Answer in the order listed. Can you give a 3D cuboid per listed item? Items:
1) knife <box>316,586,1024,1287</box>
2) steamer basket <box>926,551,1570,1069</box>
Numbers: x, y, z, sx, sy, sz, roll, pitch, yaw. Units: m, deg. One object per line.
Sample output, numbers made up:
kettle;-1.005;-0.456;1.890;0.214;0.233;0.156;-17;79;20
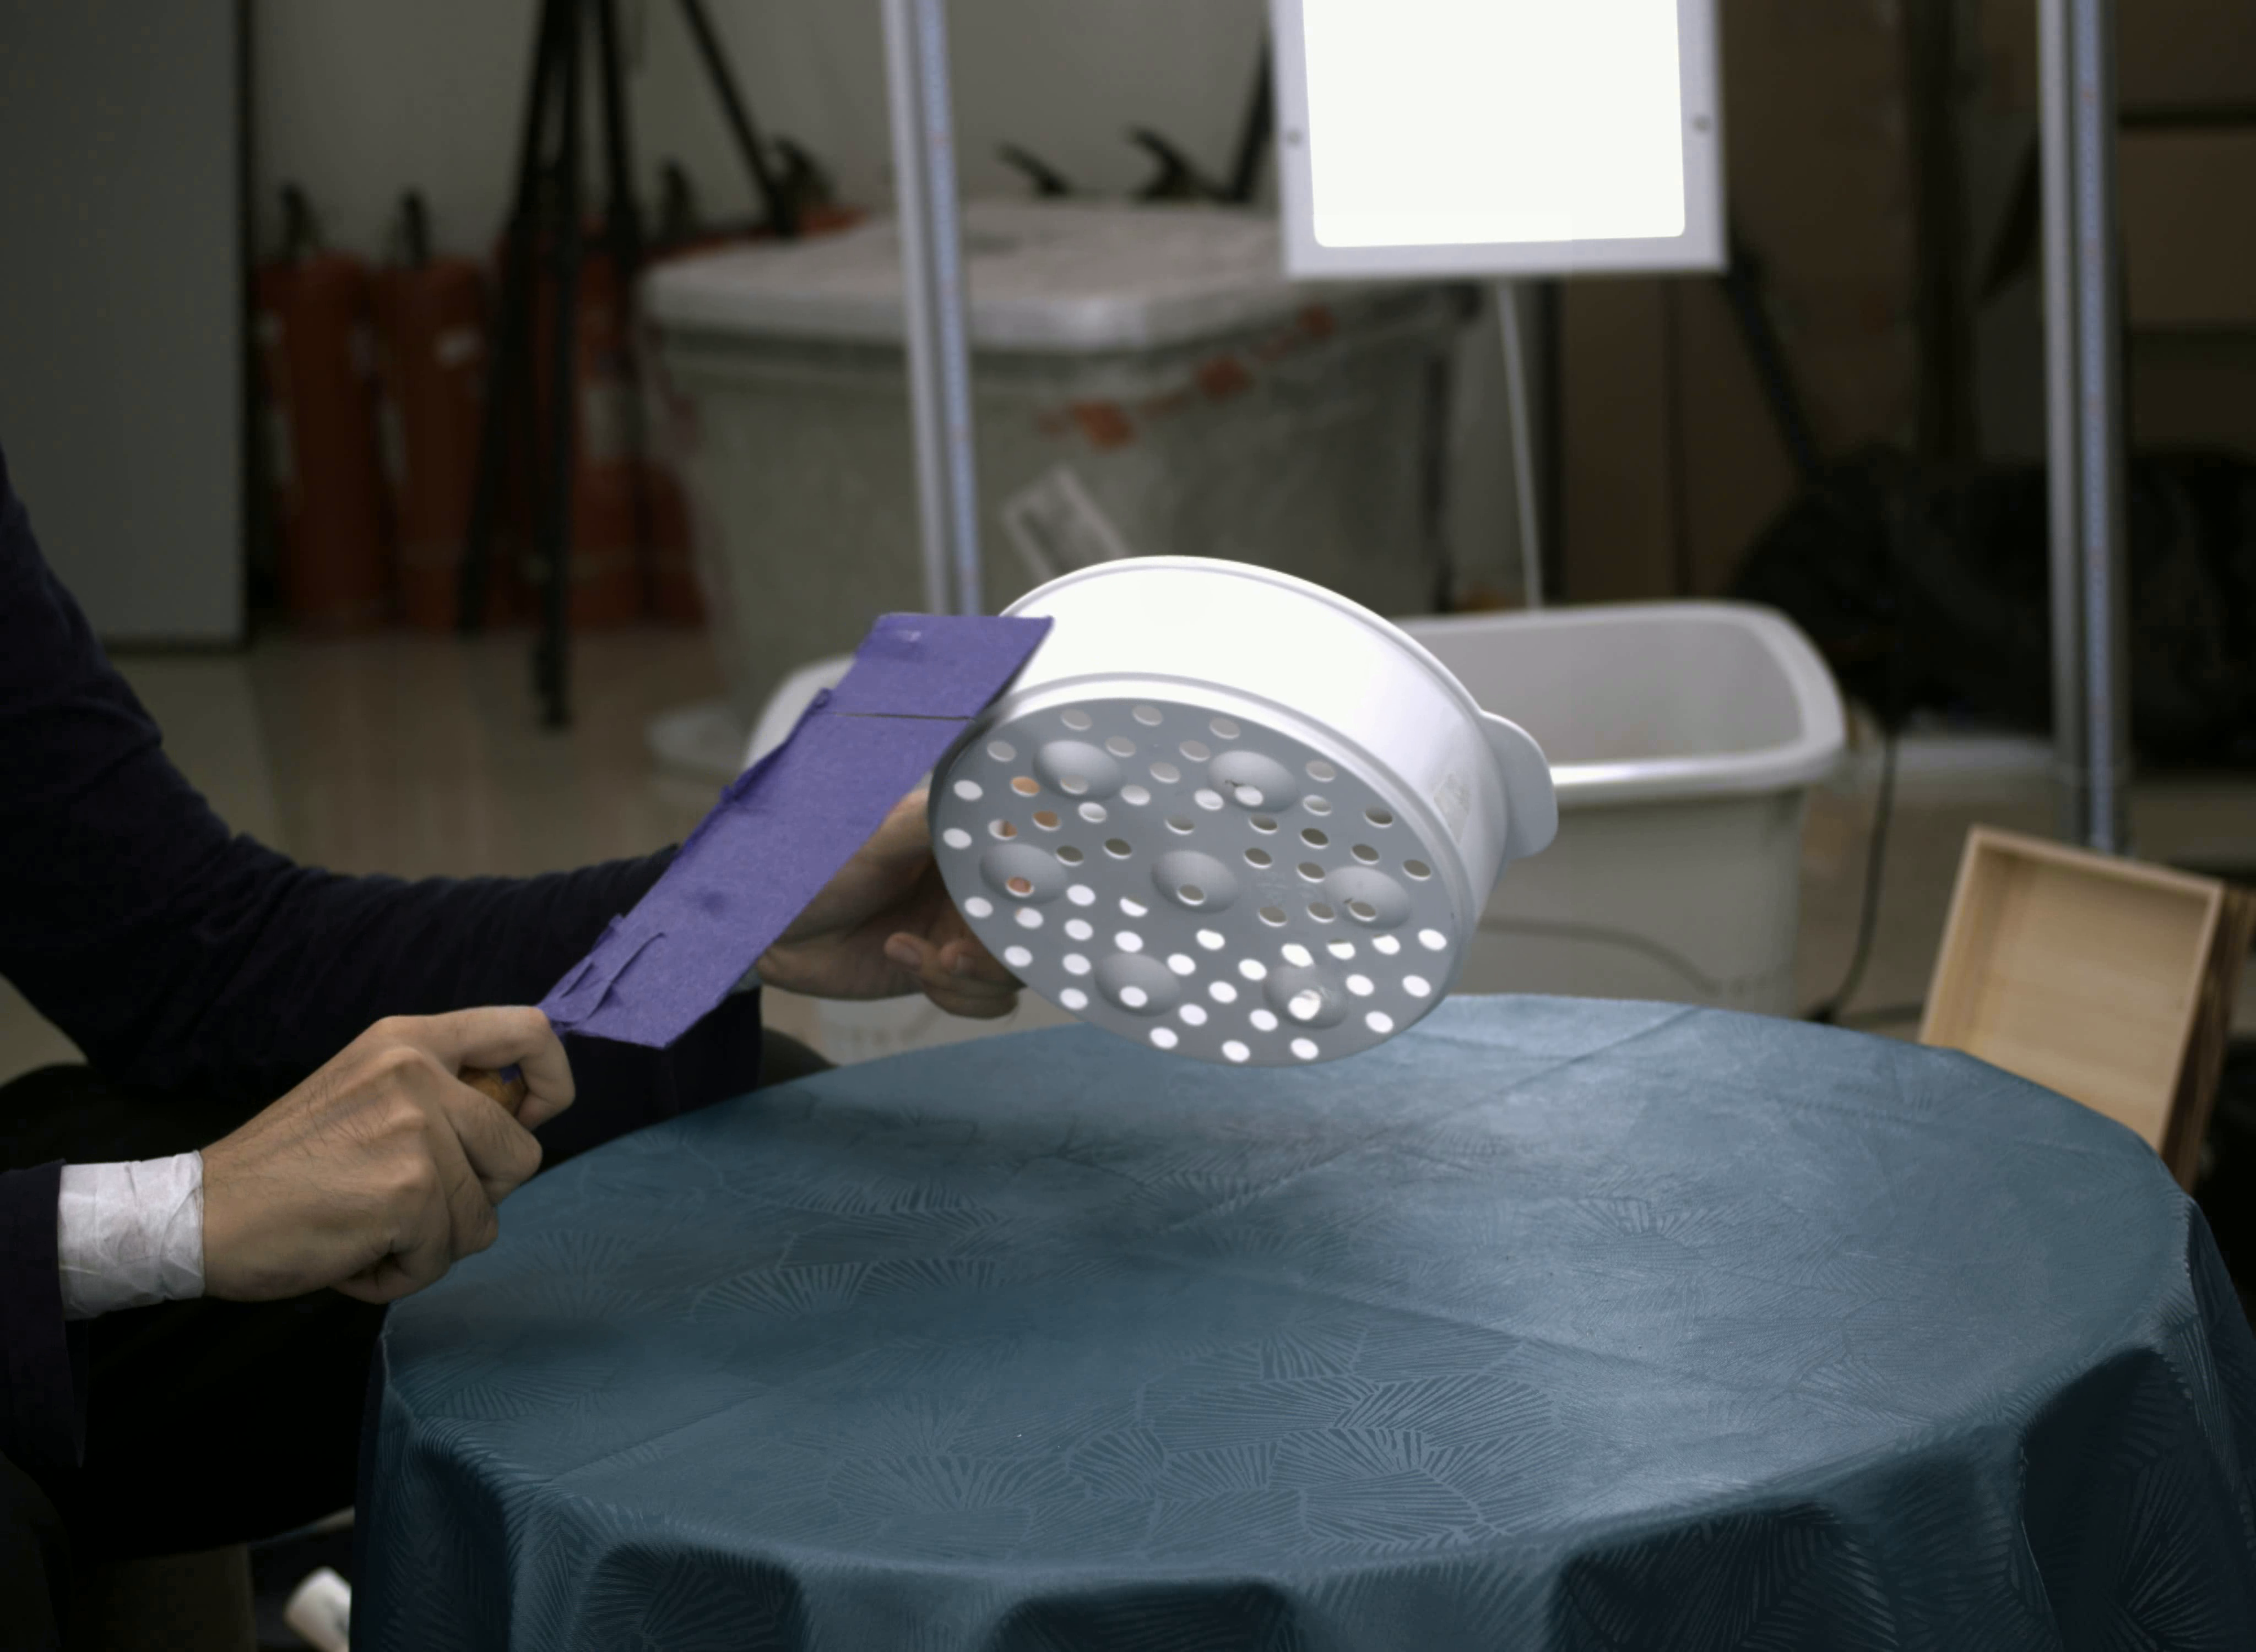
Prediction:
knife;-0.148;0.029;1.830;0.106;0.032;0.311;2;49;54
steamer basket;0.034;0.000;1.886;0.233;0.201;0.068;3;46;20
